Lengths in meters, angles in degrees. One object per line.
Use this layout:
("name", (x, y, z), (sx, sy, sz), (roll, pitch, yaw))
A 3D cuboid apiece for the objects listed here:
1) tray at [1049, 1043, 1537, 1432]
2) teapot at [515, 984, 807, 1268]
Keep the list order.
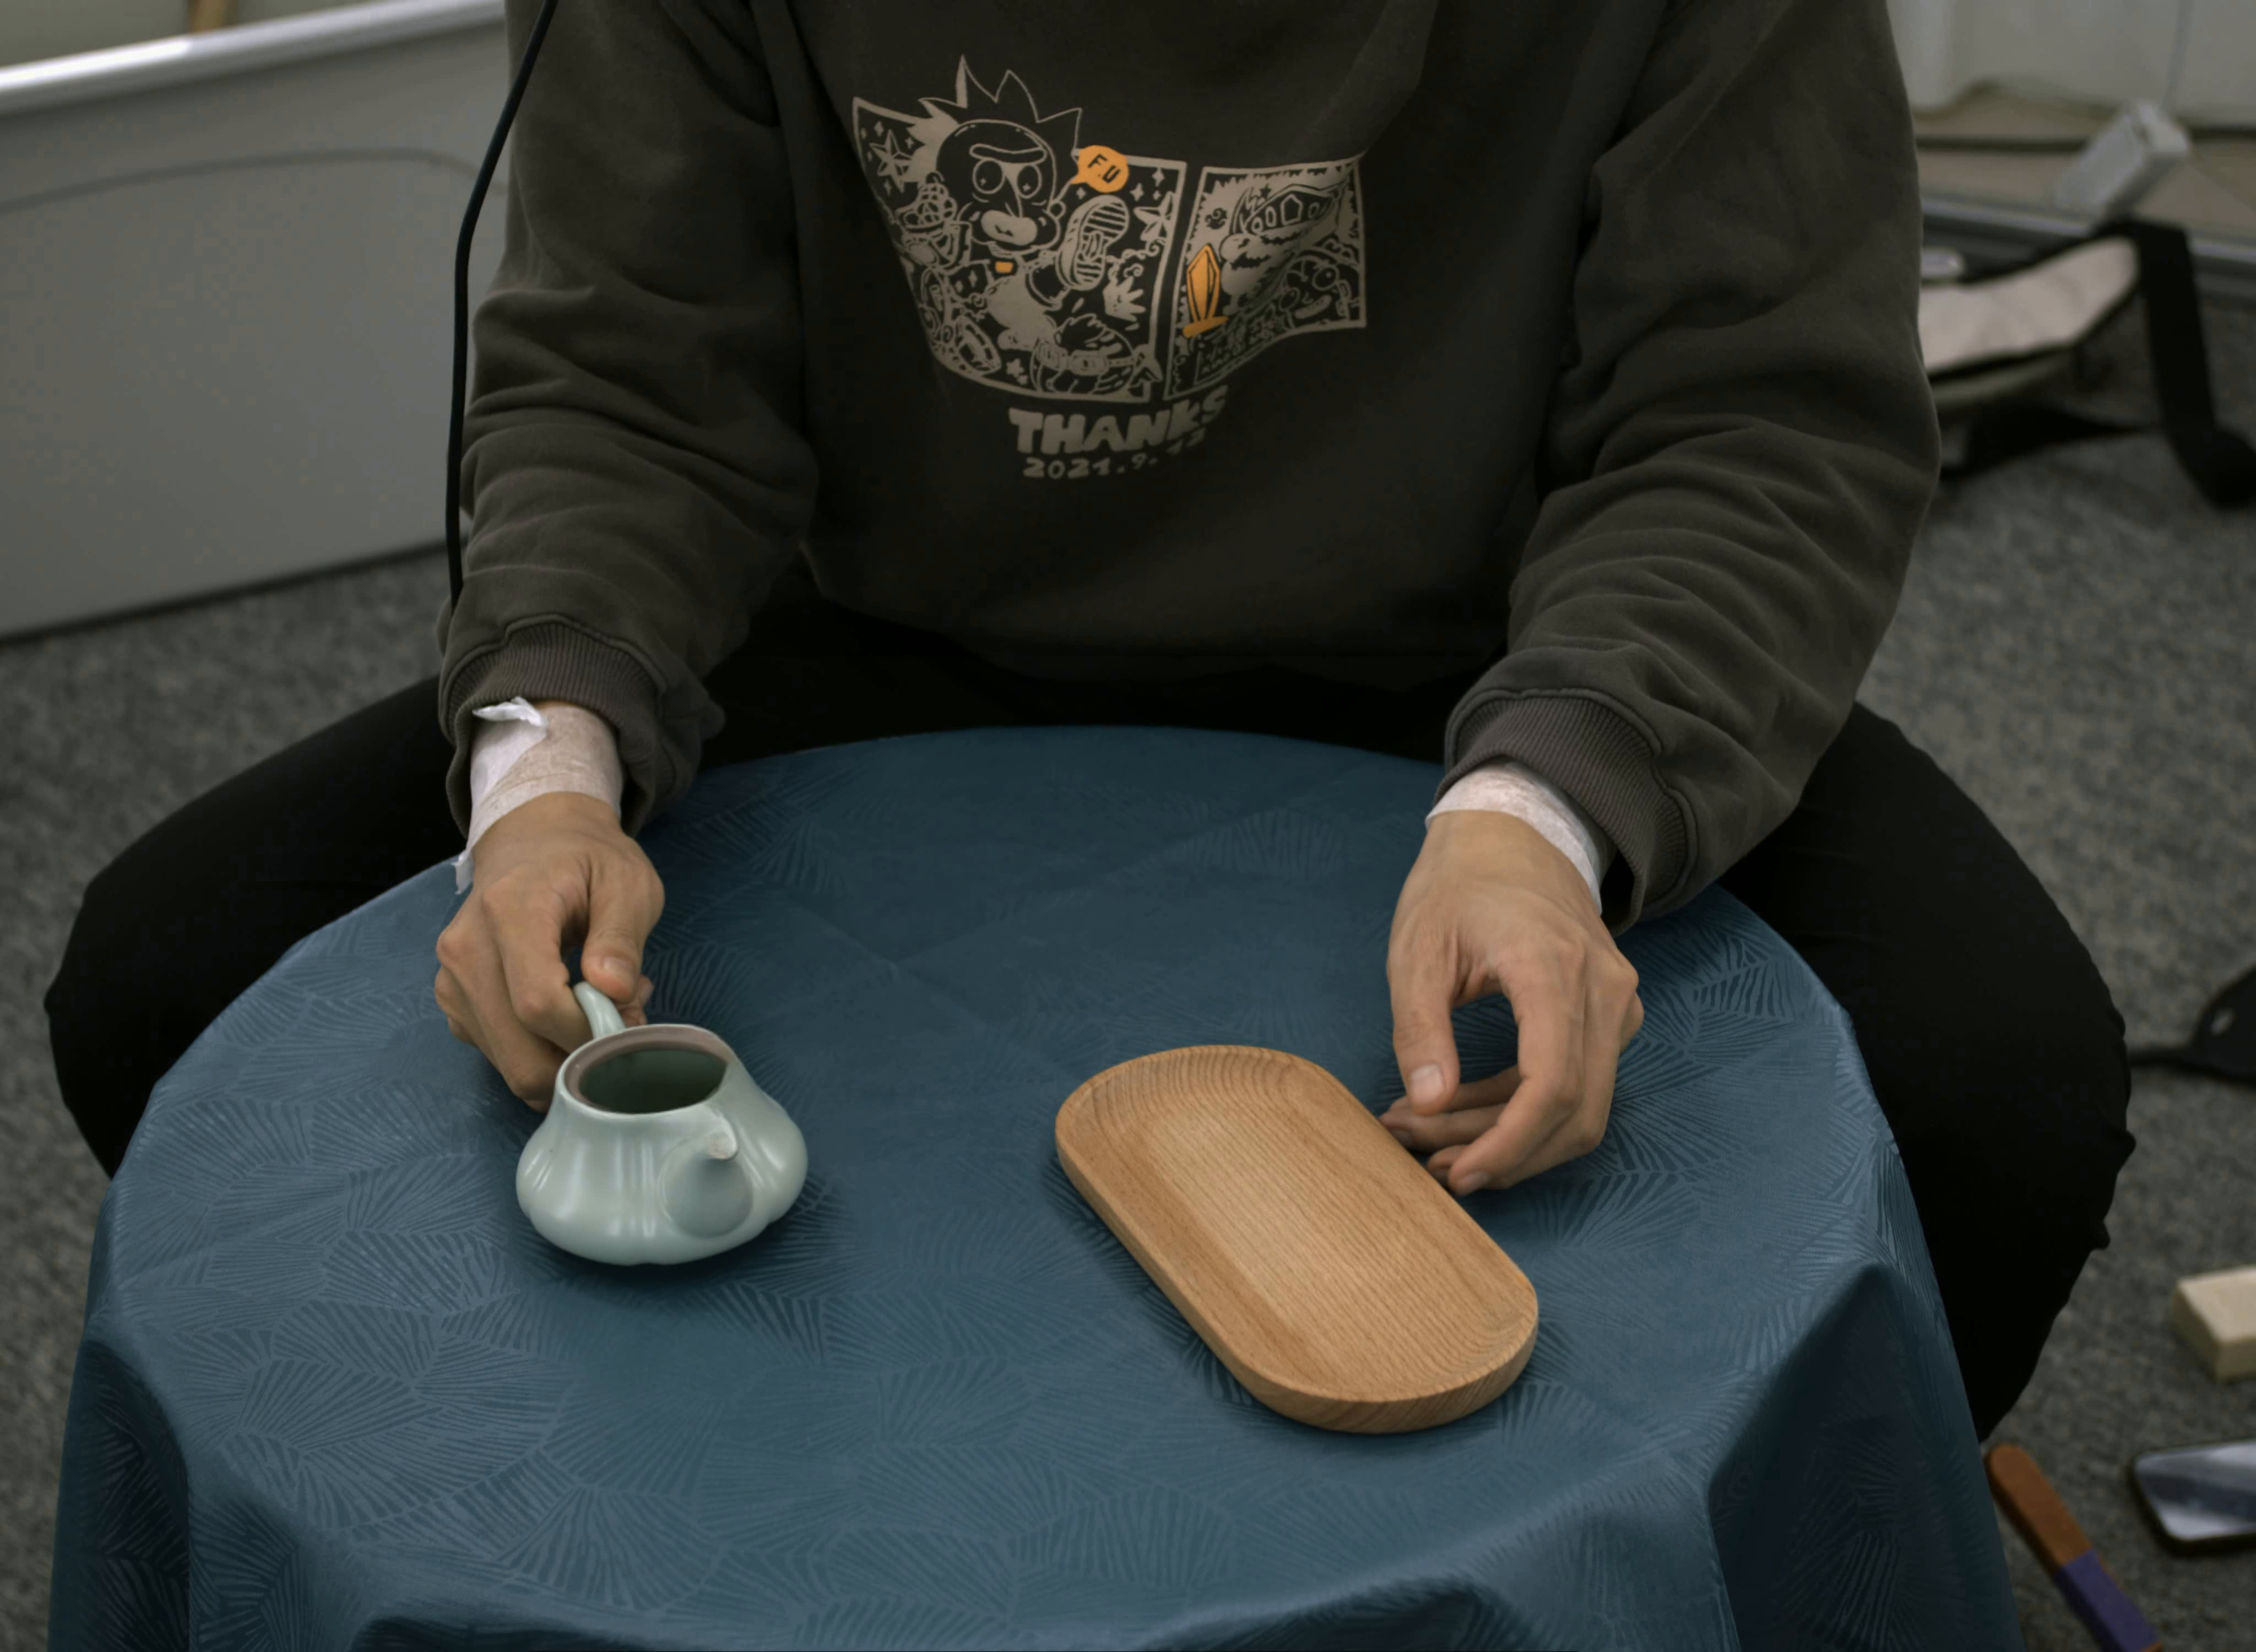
("tray", (0.051, 0.131, 1.819), (0.102, 0.020, 0.232), (-14, 28, -20))
("teapot", (-0.157, 0.102, 1.850), (0.097, 0.061, 0.137), (-18, 32, -24))
